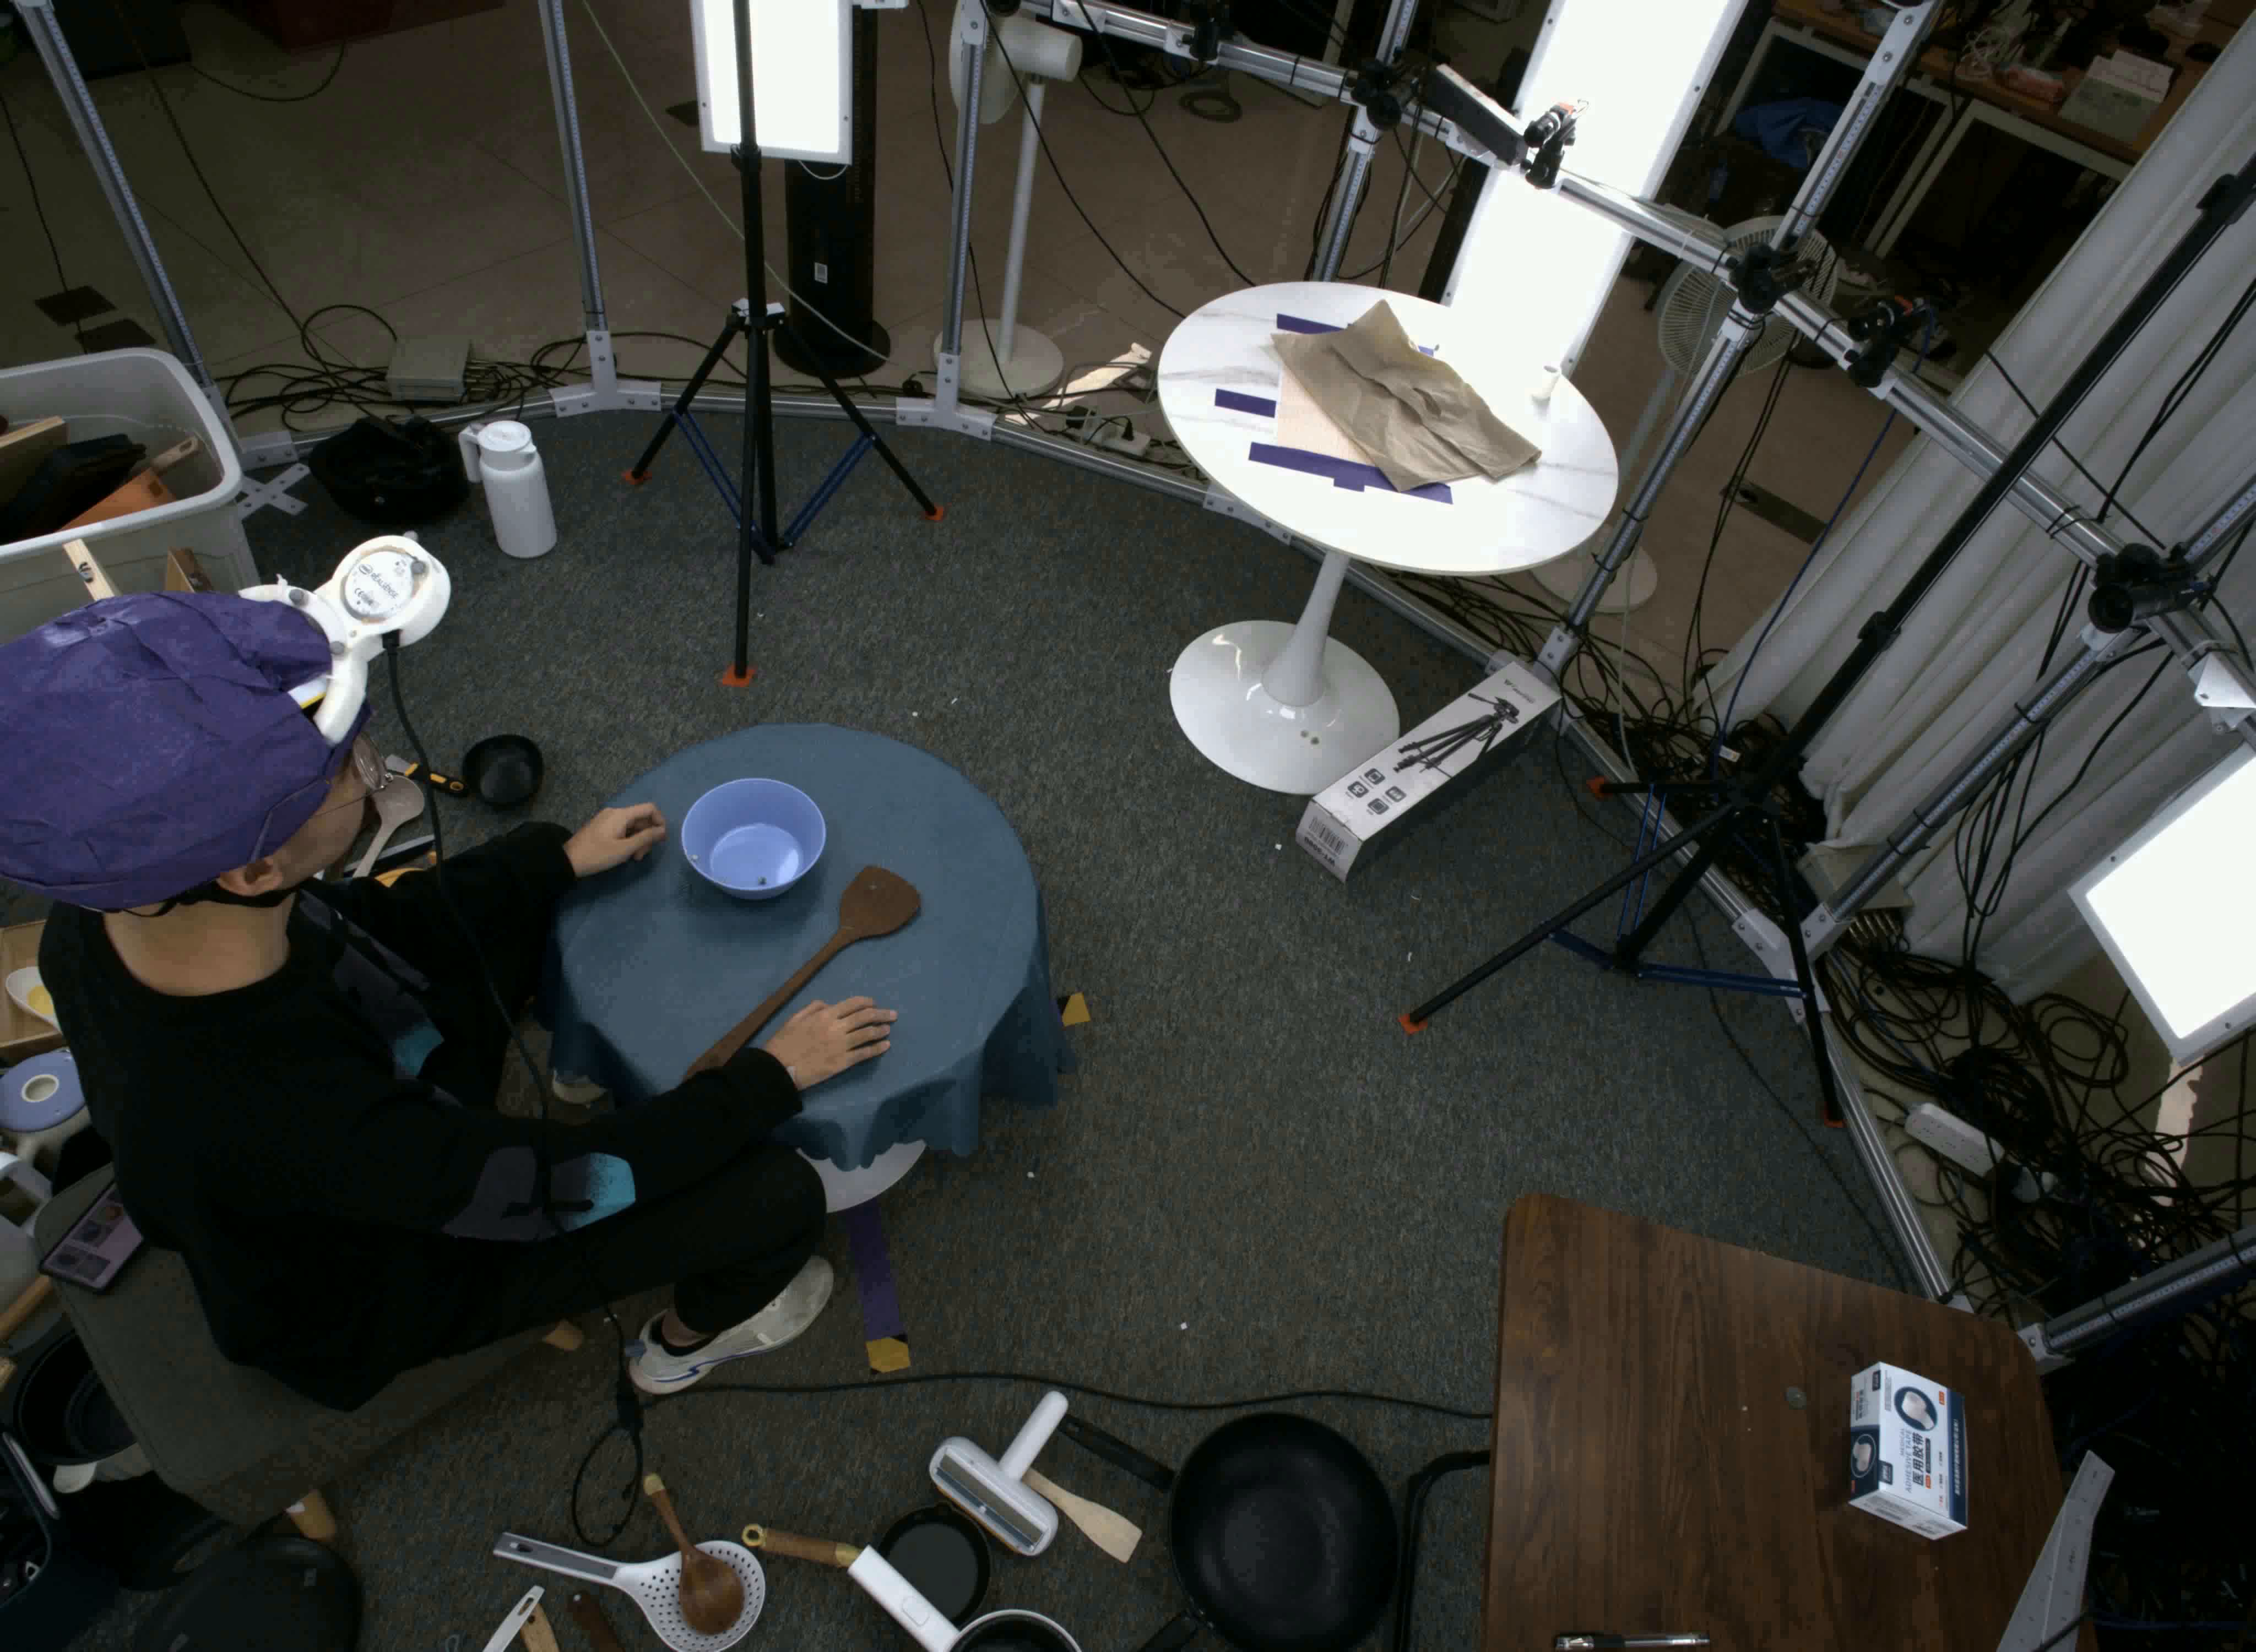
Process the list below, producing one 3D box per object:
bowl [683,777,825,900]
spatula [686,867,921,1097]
[{"bbox_3d":[-0.474,0.026,1.652,0.175,0.072,0.173,7,53,-8],"label":"bowl"},{"bbox_3d":[-0.400,0.185,1.588,0.094,0.016,0.385,33,53,12],"label":"spatula"}]
